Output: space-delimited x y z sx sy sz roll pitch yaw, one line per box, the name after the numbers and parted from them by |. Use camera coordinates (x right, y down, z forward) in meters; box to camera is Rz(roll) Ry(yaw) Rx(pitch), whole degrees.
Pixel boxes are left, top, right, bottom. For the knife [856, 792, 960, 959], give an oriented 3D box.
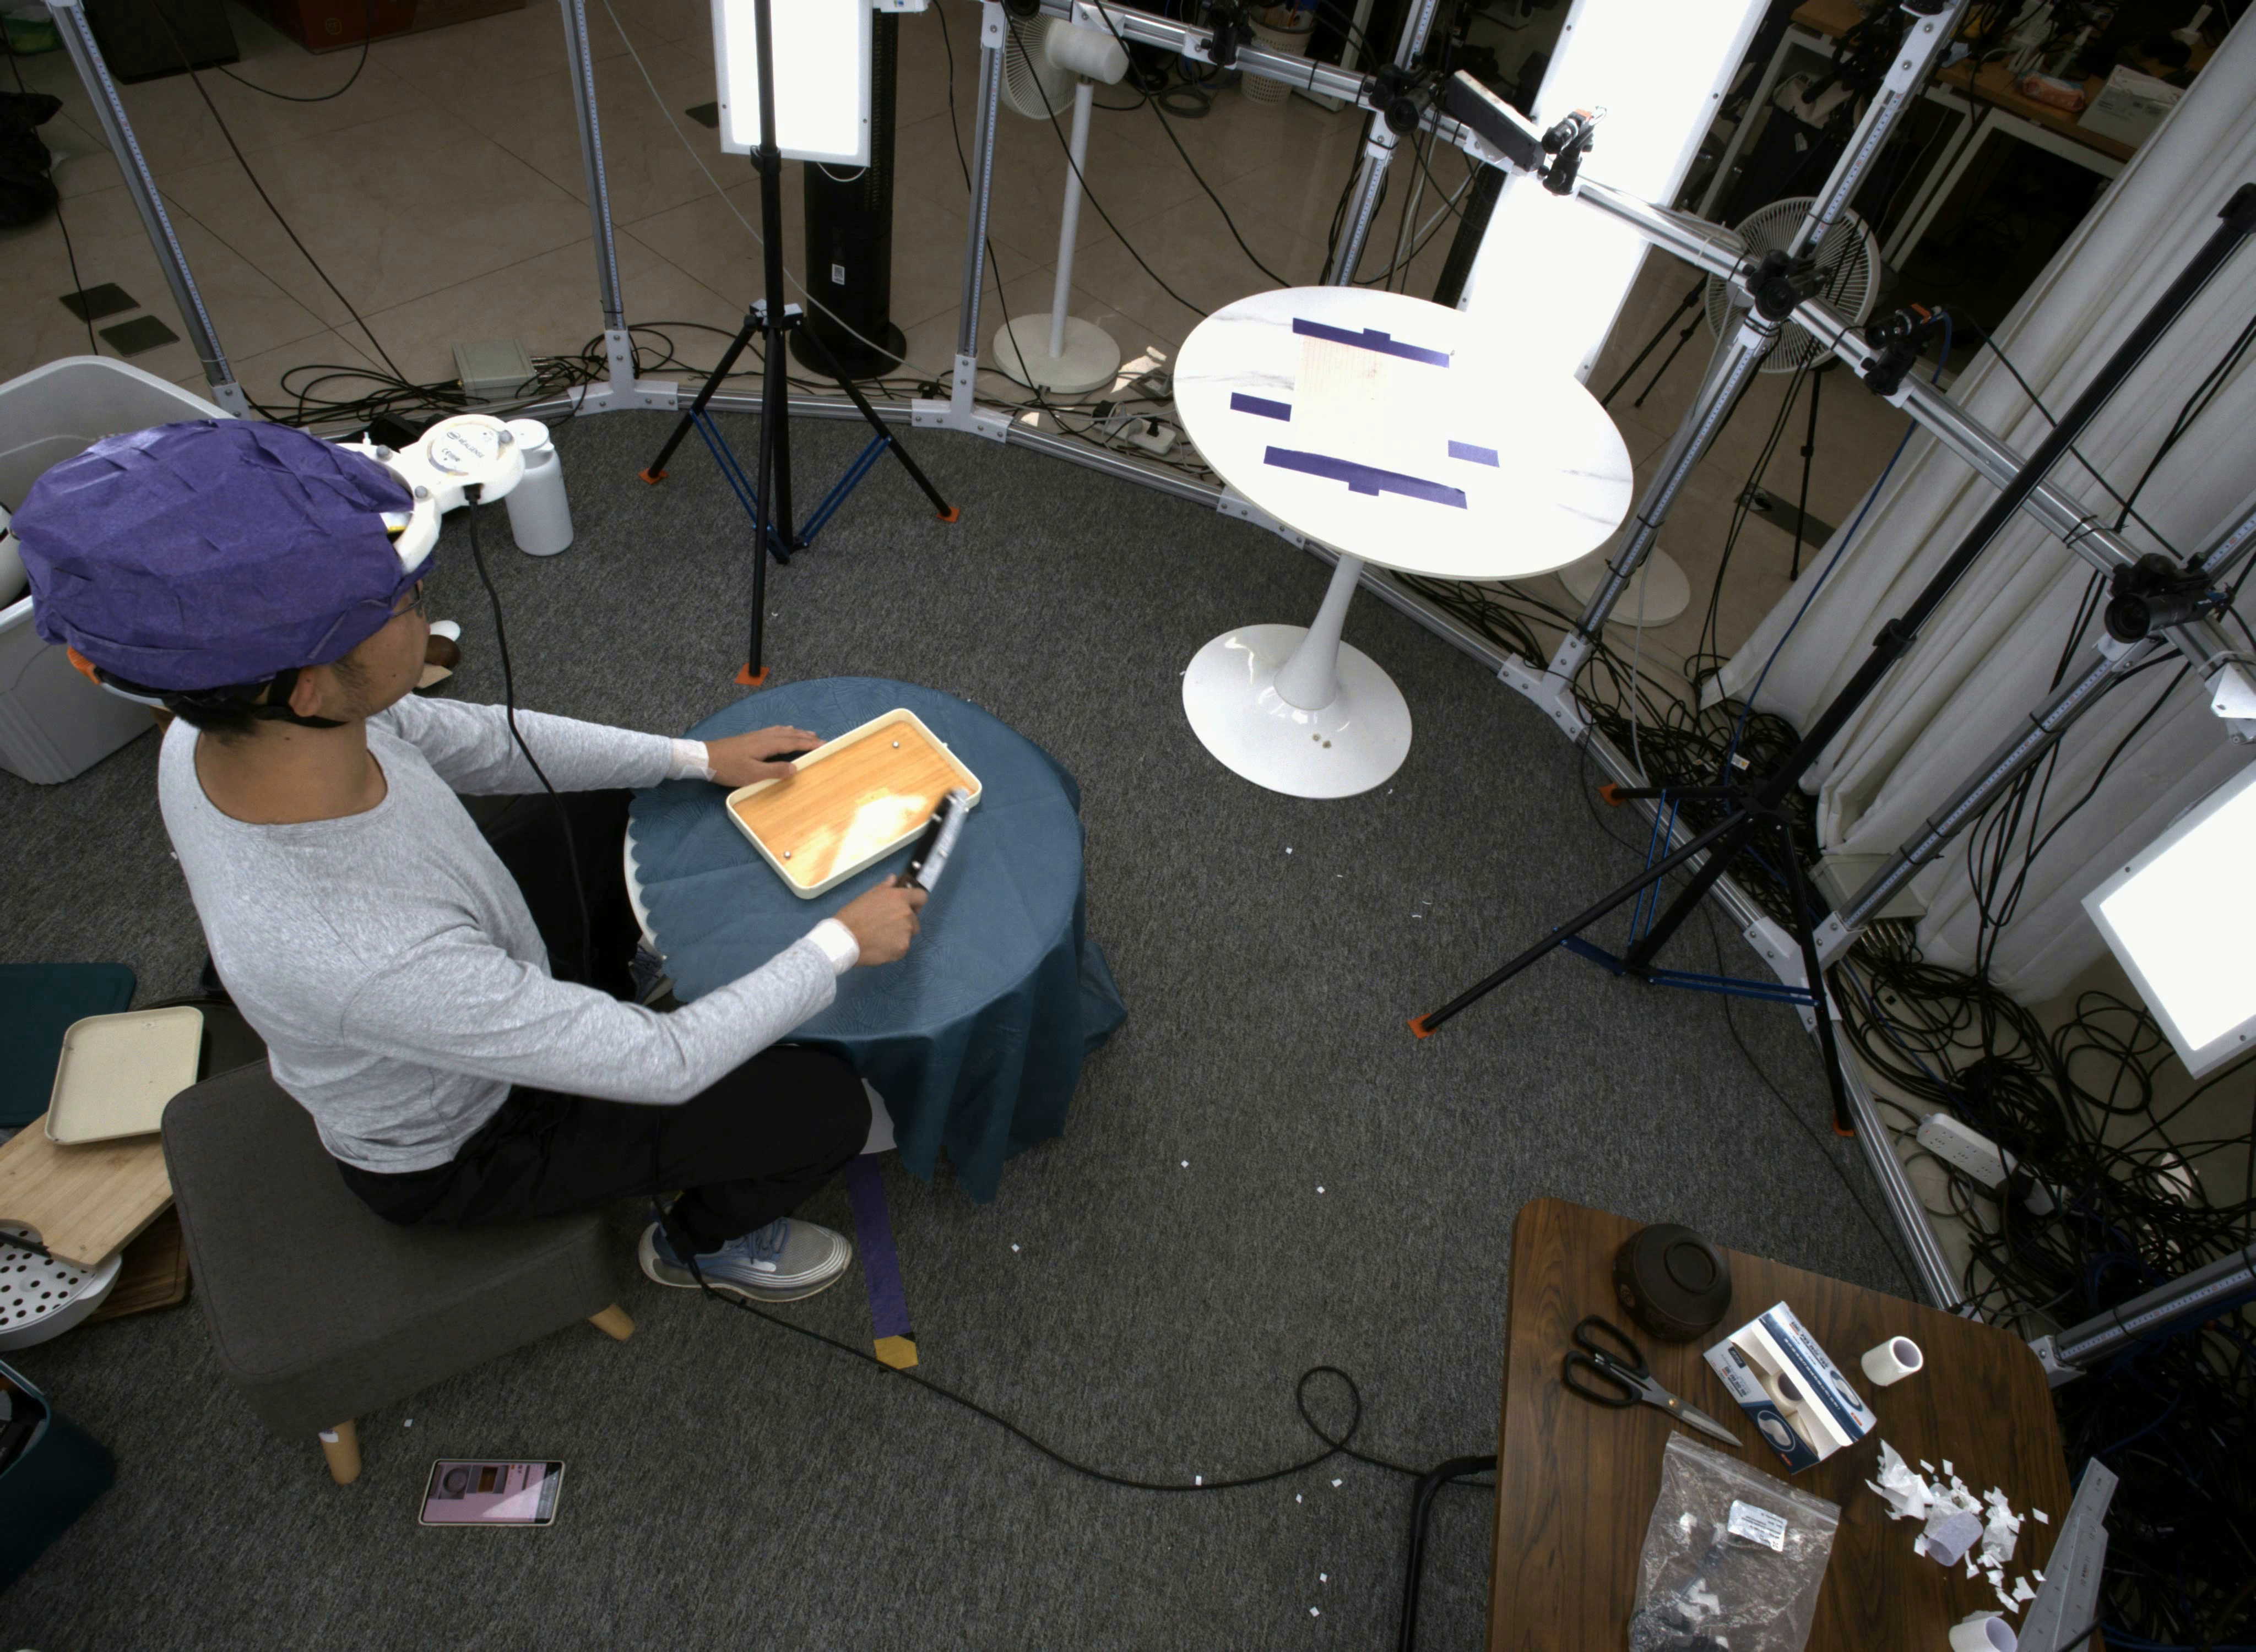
-0.272 0.055 1.637 0.052 0.019 0.286 49 44 -26 | knife

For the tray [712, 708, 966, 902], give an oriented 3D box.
-0.387 -0.035 1.754 0.301 0.028 0.187 -34 68 -32 | tray
